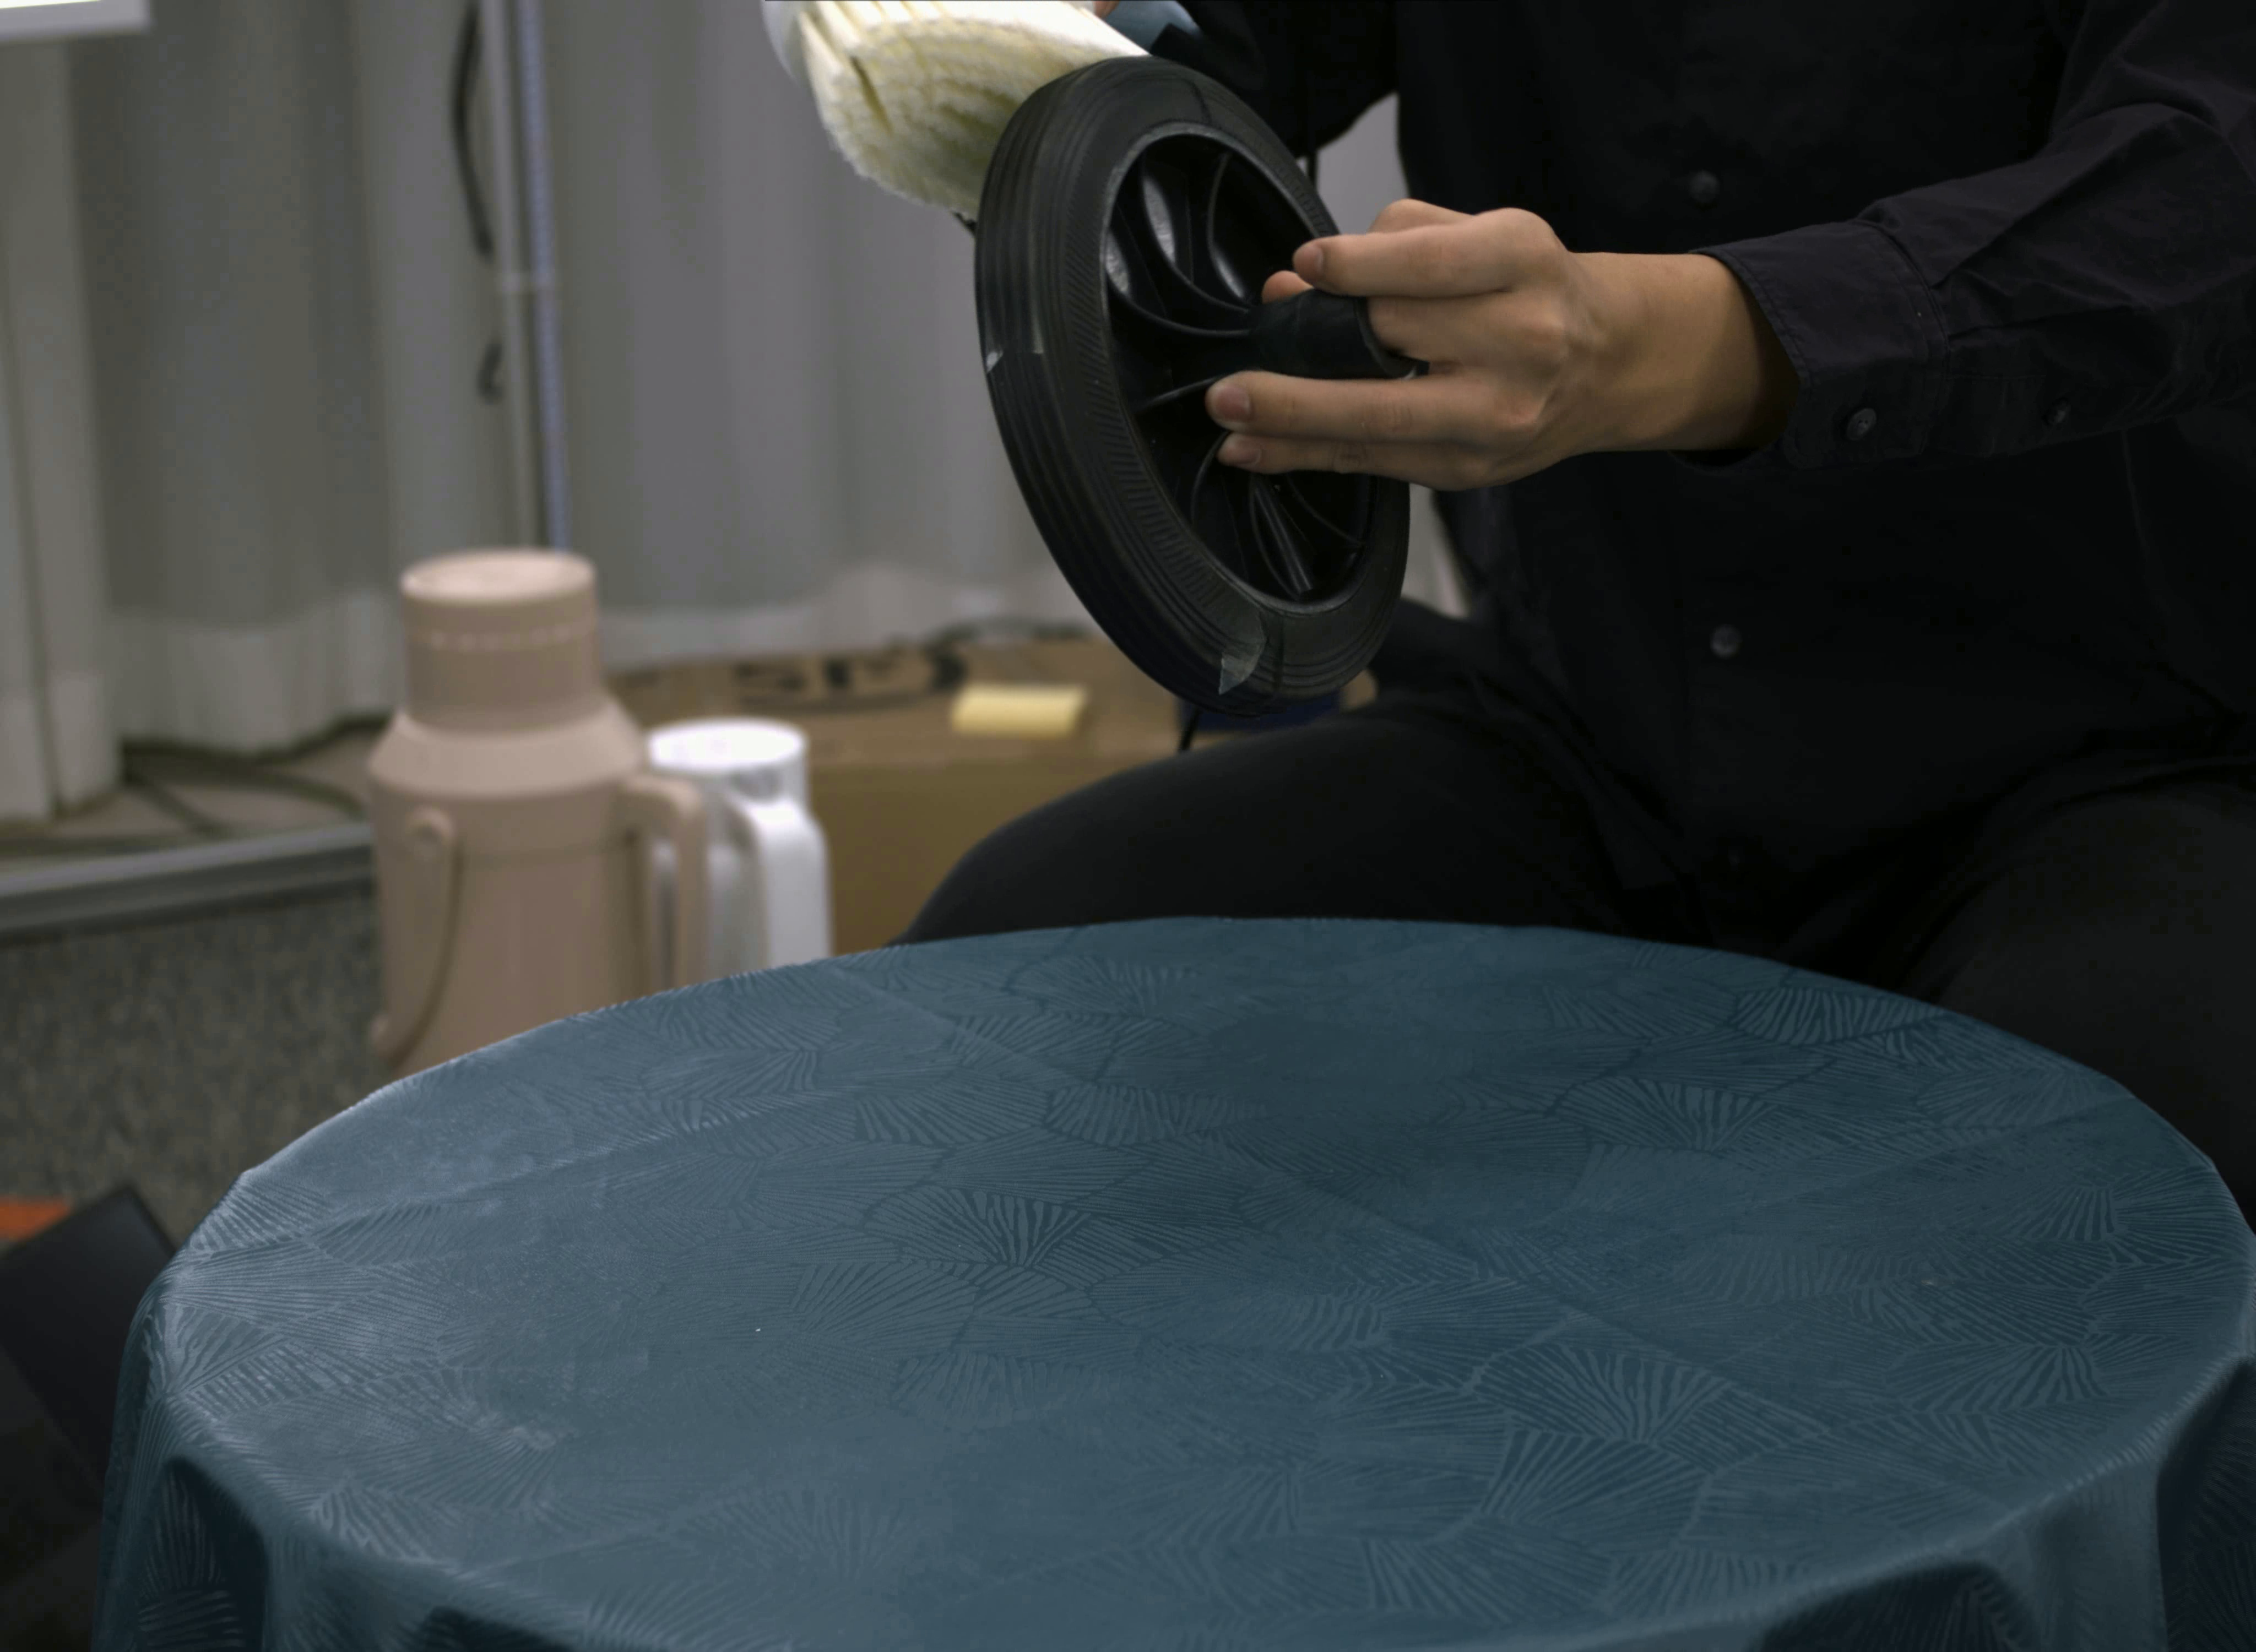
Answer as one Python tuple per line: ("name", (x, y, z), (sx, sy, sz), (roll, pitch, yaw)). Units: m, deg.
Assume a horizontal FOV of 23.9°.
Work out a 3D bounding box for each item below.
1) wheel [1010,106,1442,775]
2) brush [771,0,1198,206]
("wheel", (0.046, -0.113, 1.471), (0.080, 0.186, 0.188), (-18, 15, 32))
("brush", (-0.013, -0.225, 1.573), (0.084, 0.085, 0.320), (-6, 3, 20))
